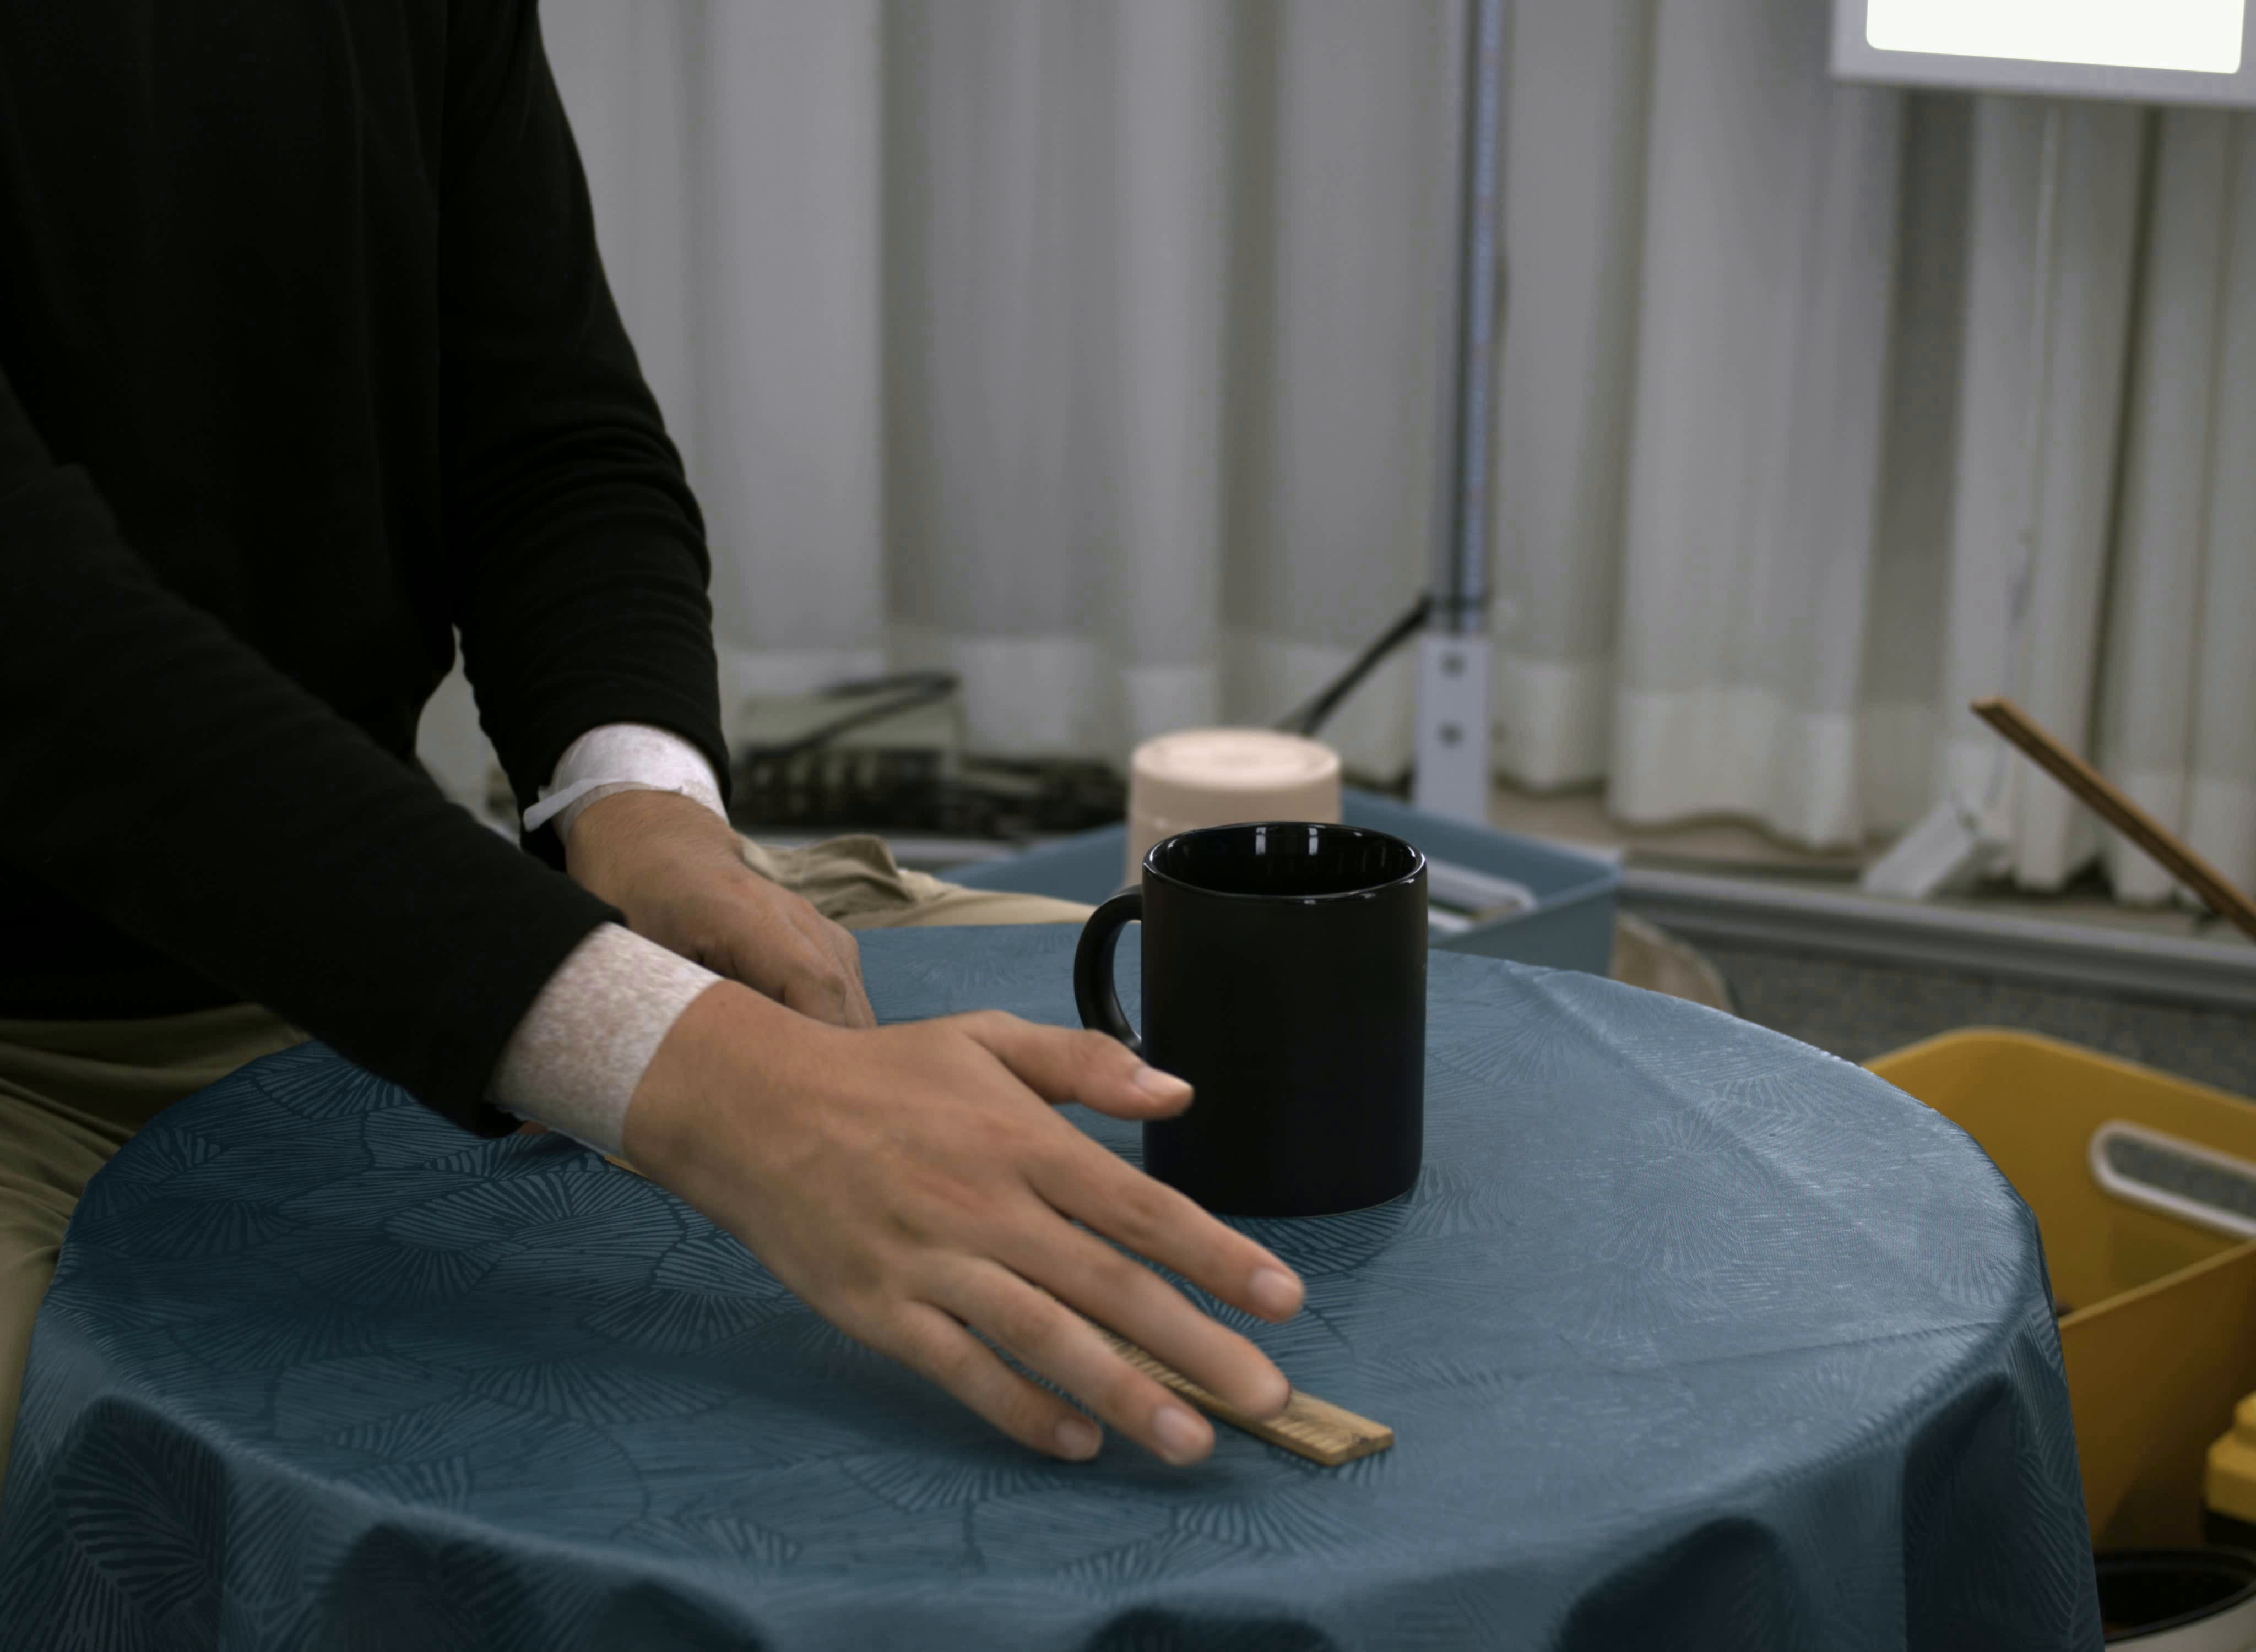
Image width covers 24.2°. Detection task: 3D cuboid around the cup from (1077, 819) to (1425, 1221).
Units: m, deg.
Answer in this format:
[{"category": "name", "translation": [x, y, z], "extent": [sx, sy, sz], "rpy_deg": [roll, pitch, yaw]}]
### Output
[{"category": "cup", "translation": [0.034, 0.056, 1.634], "extent": [0.122, 0.106, 0.089], "rpy_deg": [12, 21, 37]}]

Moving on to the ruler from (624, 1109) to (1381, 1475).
[{"category": "ruler", "translation": [-0.045, 0.130, 1.534], "extent": [0.027, 0.022, 0.327], "rpy_deg": [-7, 18, -39]}]
